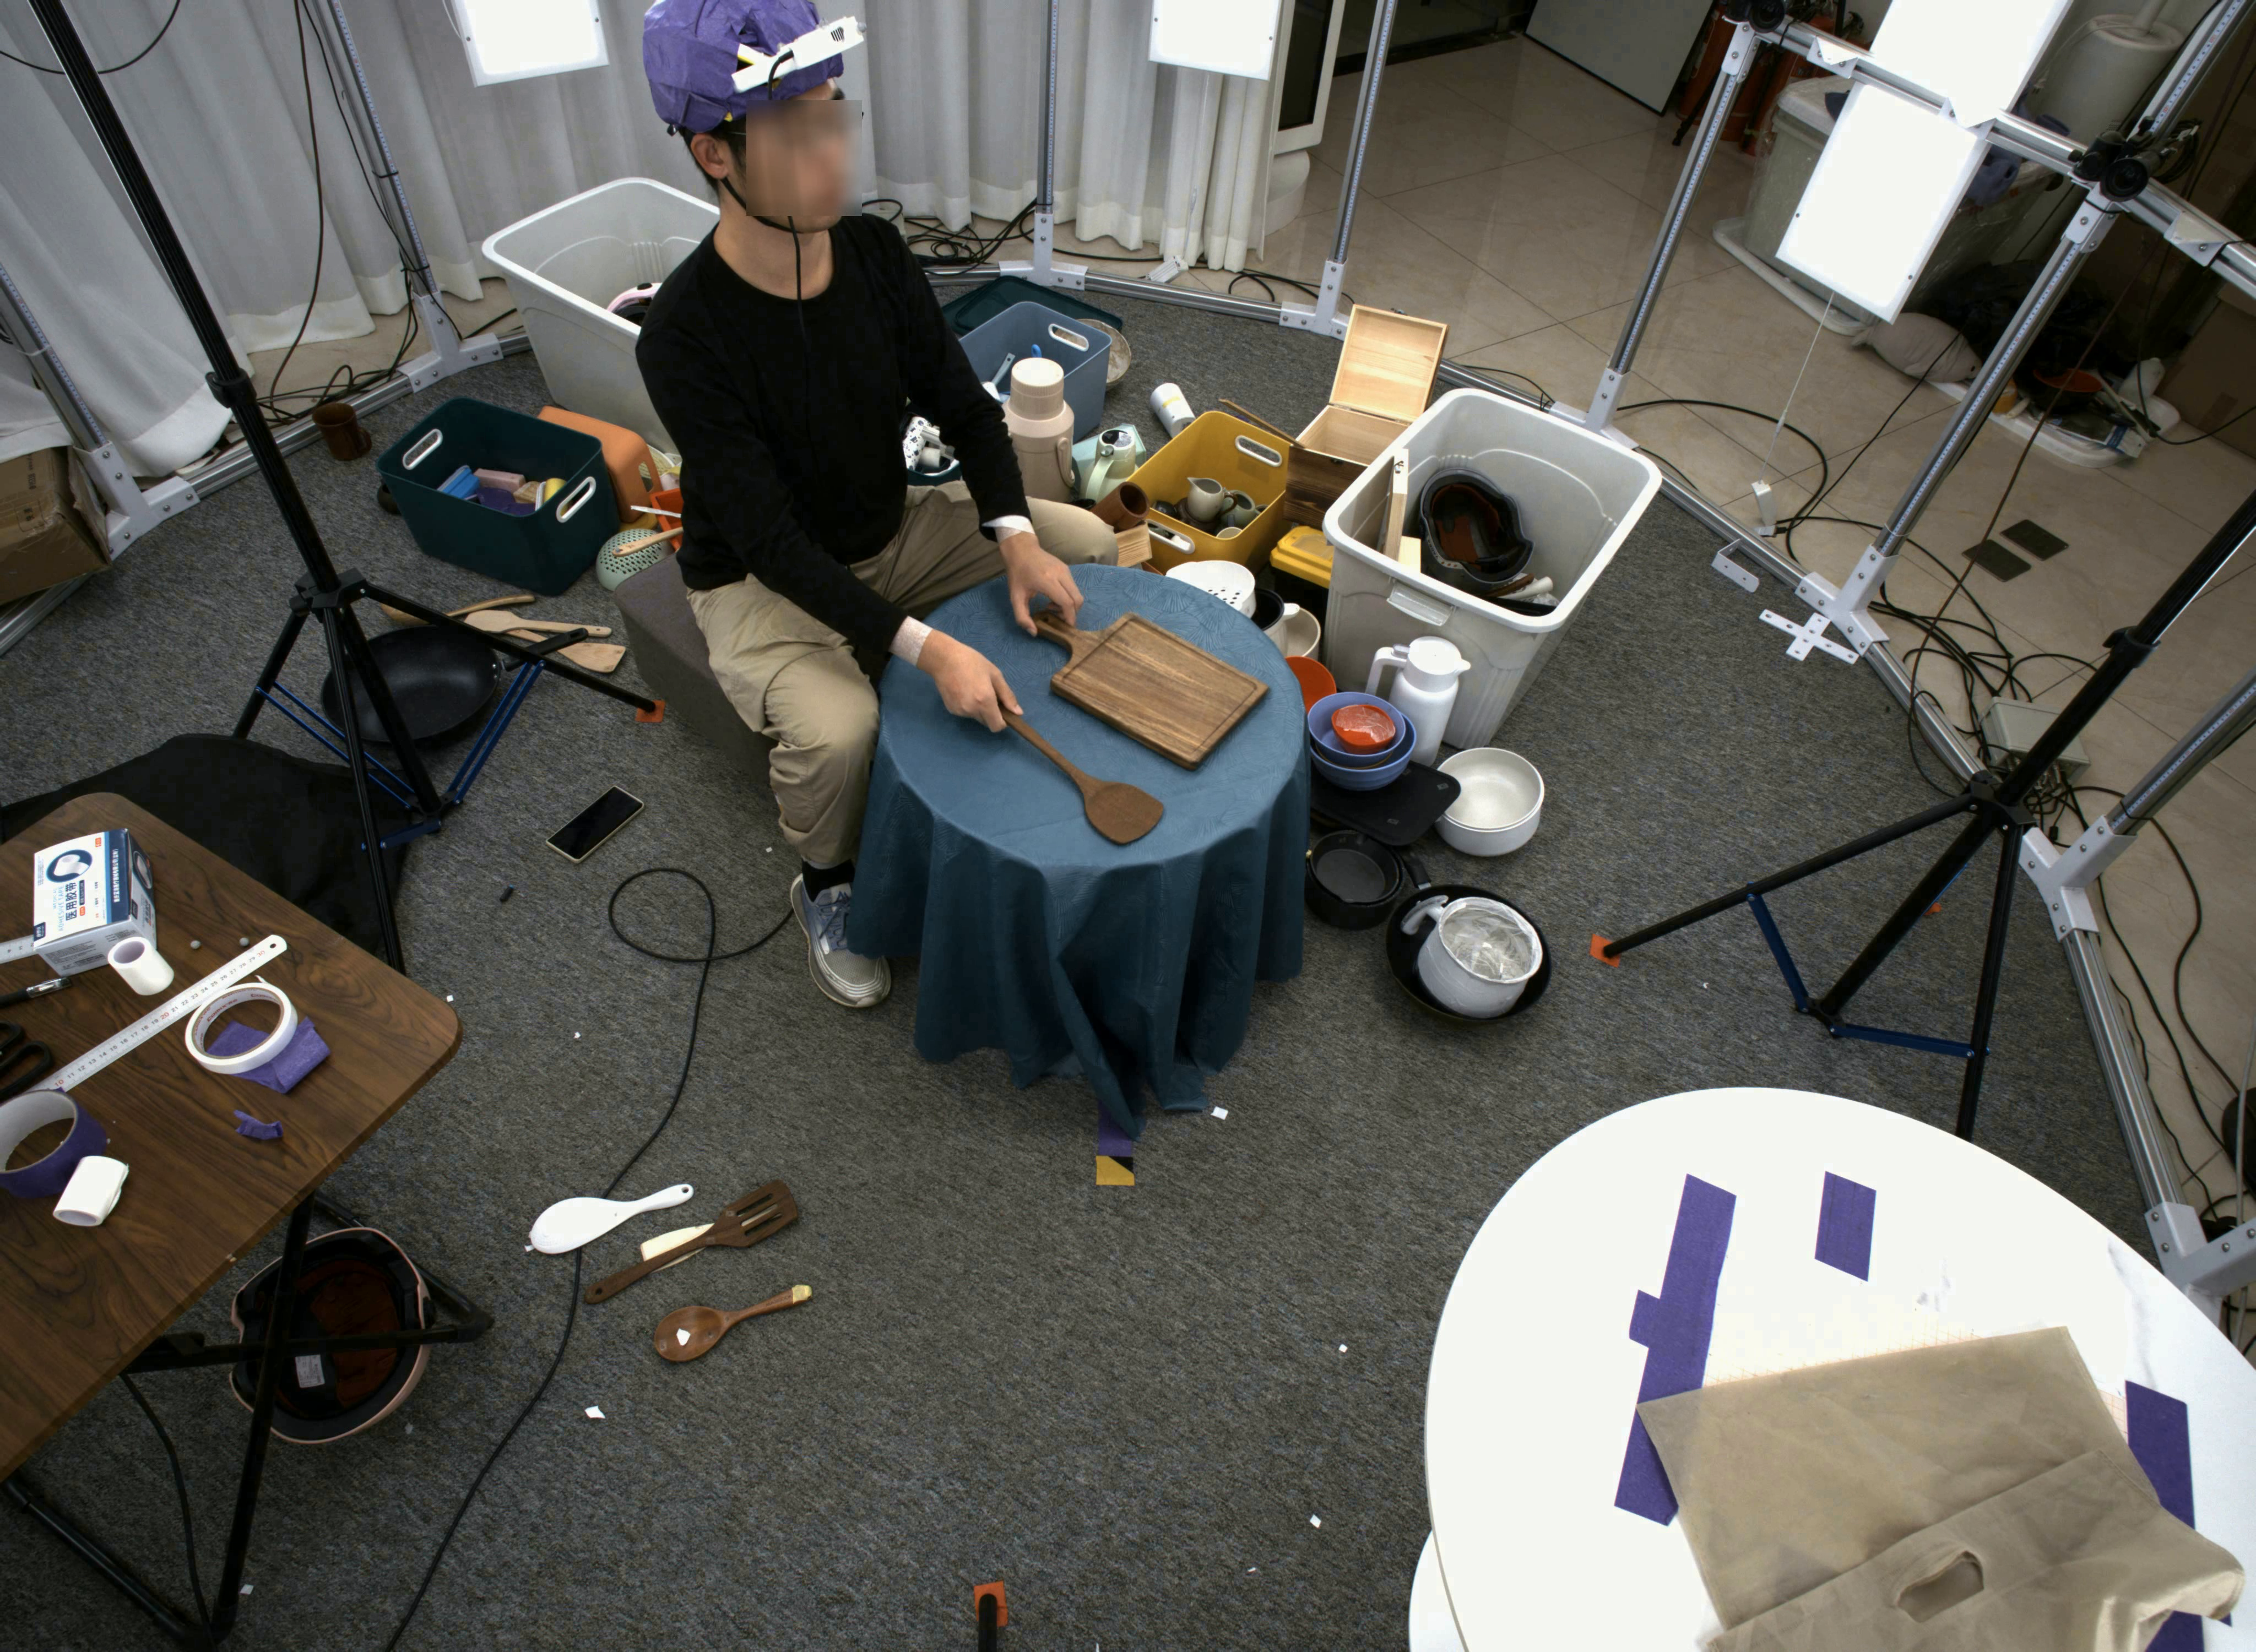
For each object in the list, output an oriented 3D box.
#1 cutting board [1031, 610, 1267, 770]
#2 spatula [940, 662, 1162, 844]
[{"bbox_3d":[0.005,-0.224,1.847,0.356,0.022,0.204,31,54,20],"label":"cutting board"},{"bbox_3d":[-0.117,-0.109,1.728,0.390,0.015,0.097,40,57,19],"label":"spatula"}]
